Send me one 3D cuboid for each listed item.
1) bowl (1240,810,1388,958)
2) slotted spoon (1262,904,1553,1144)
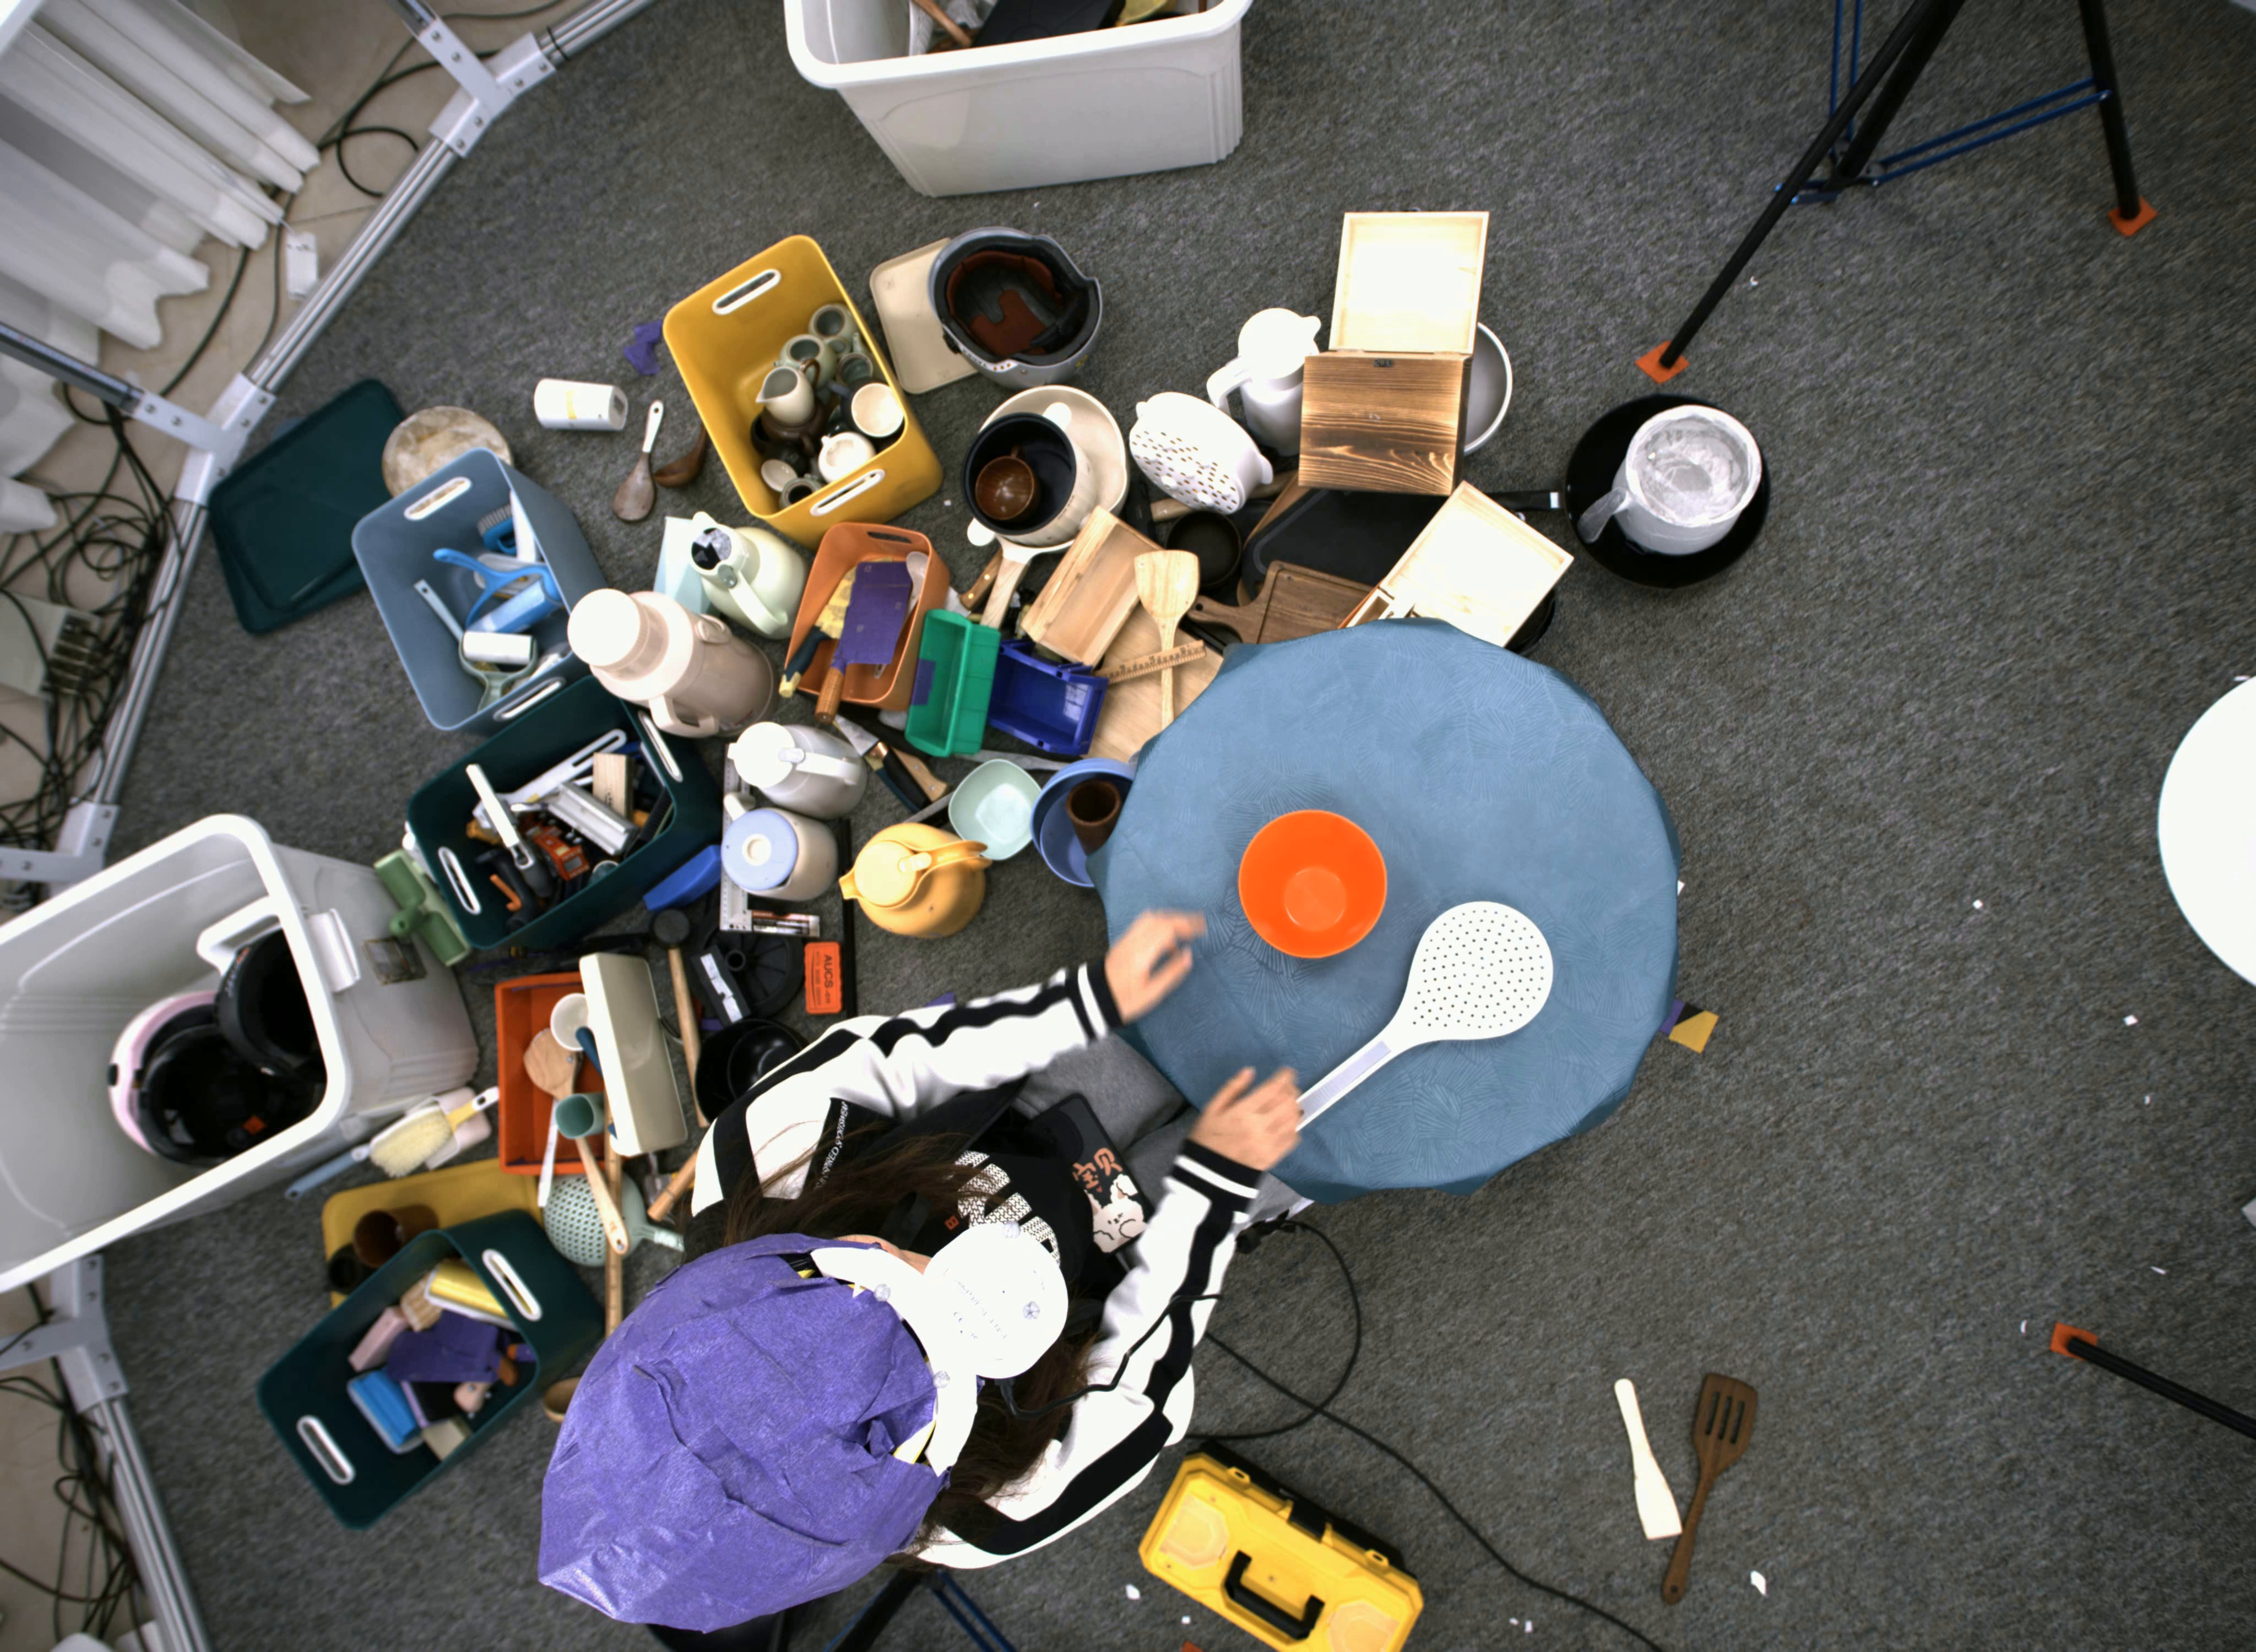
[{"bbox_3d":[0.191,0.062,1.425,0.148,0.105,0.147,-1,86,8],"label":"bowl"},{"bbox_3d":[0.281,0.214,1.427,0.351,0.046,0.135,-39,80,7],"label":"slotted spoon"}]
